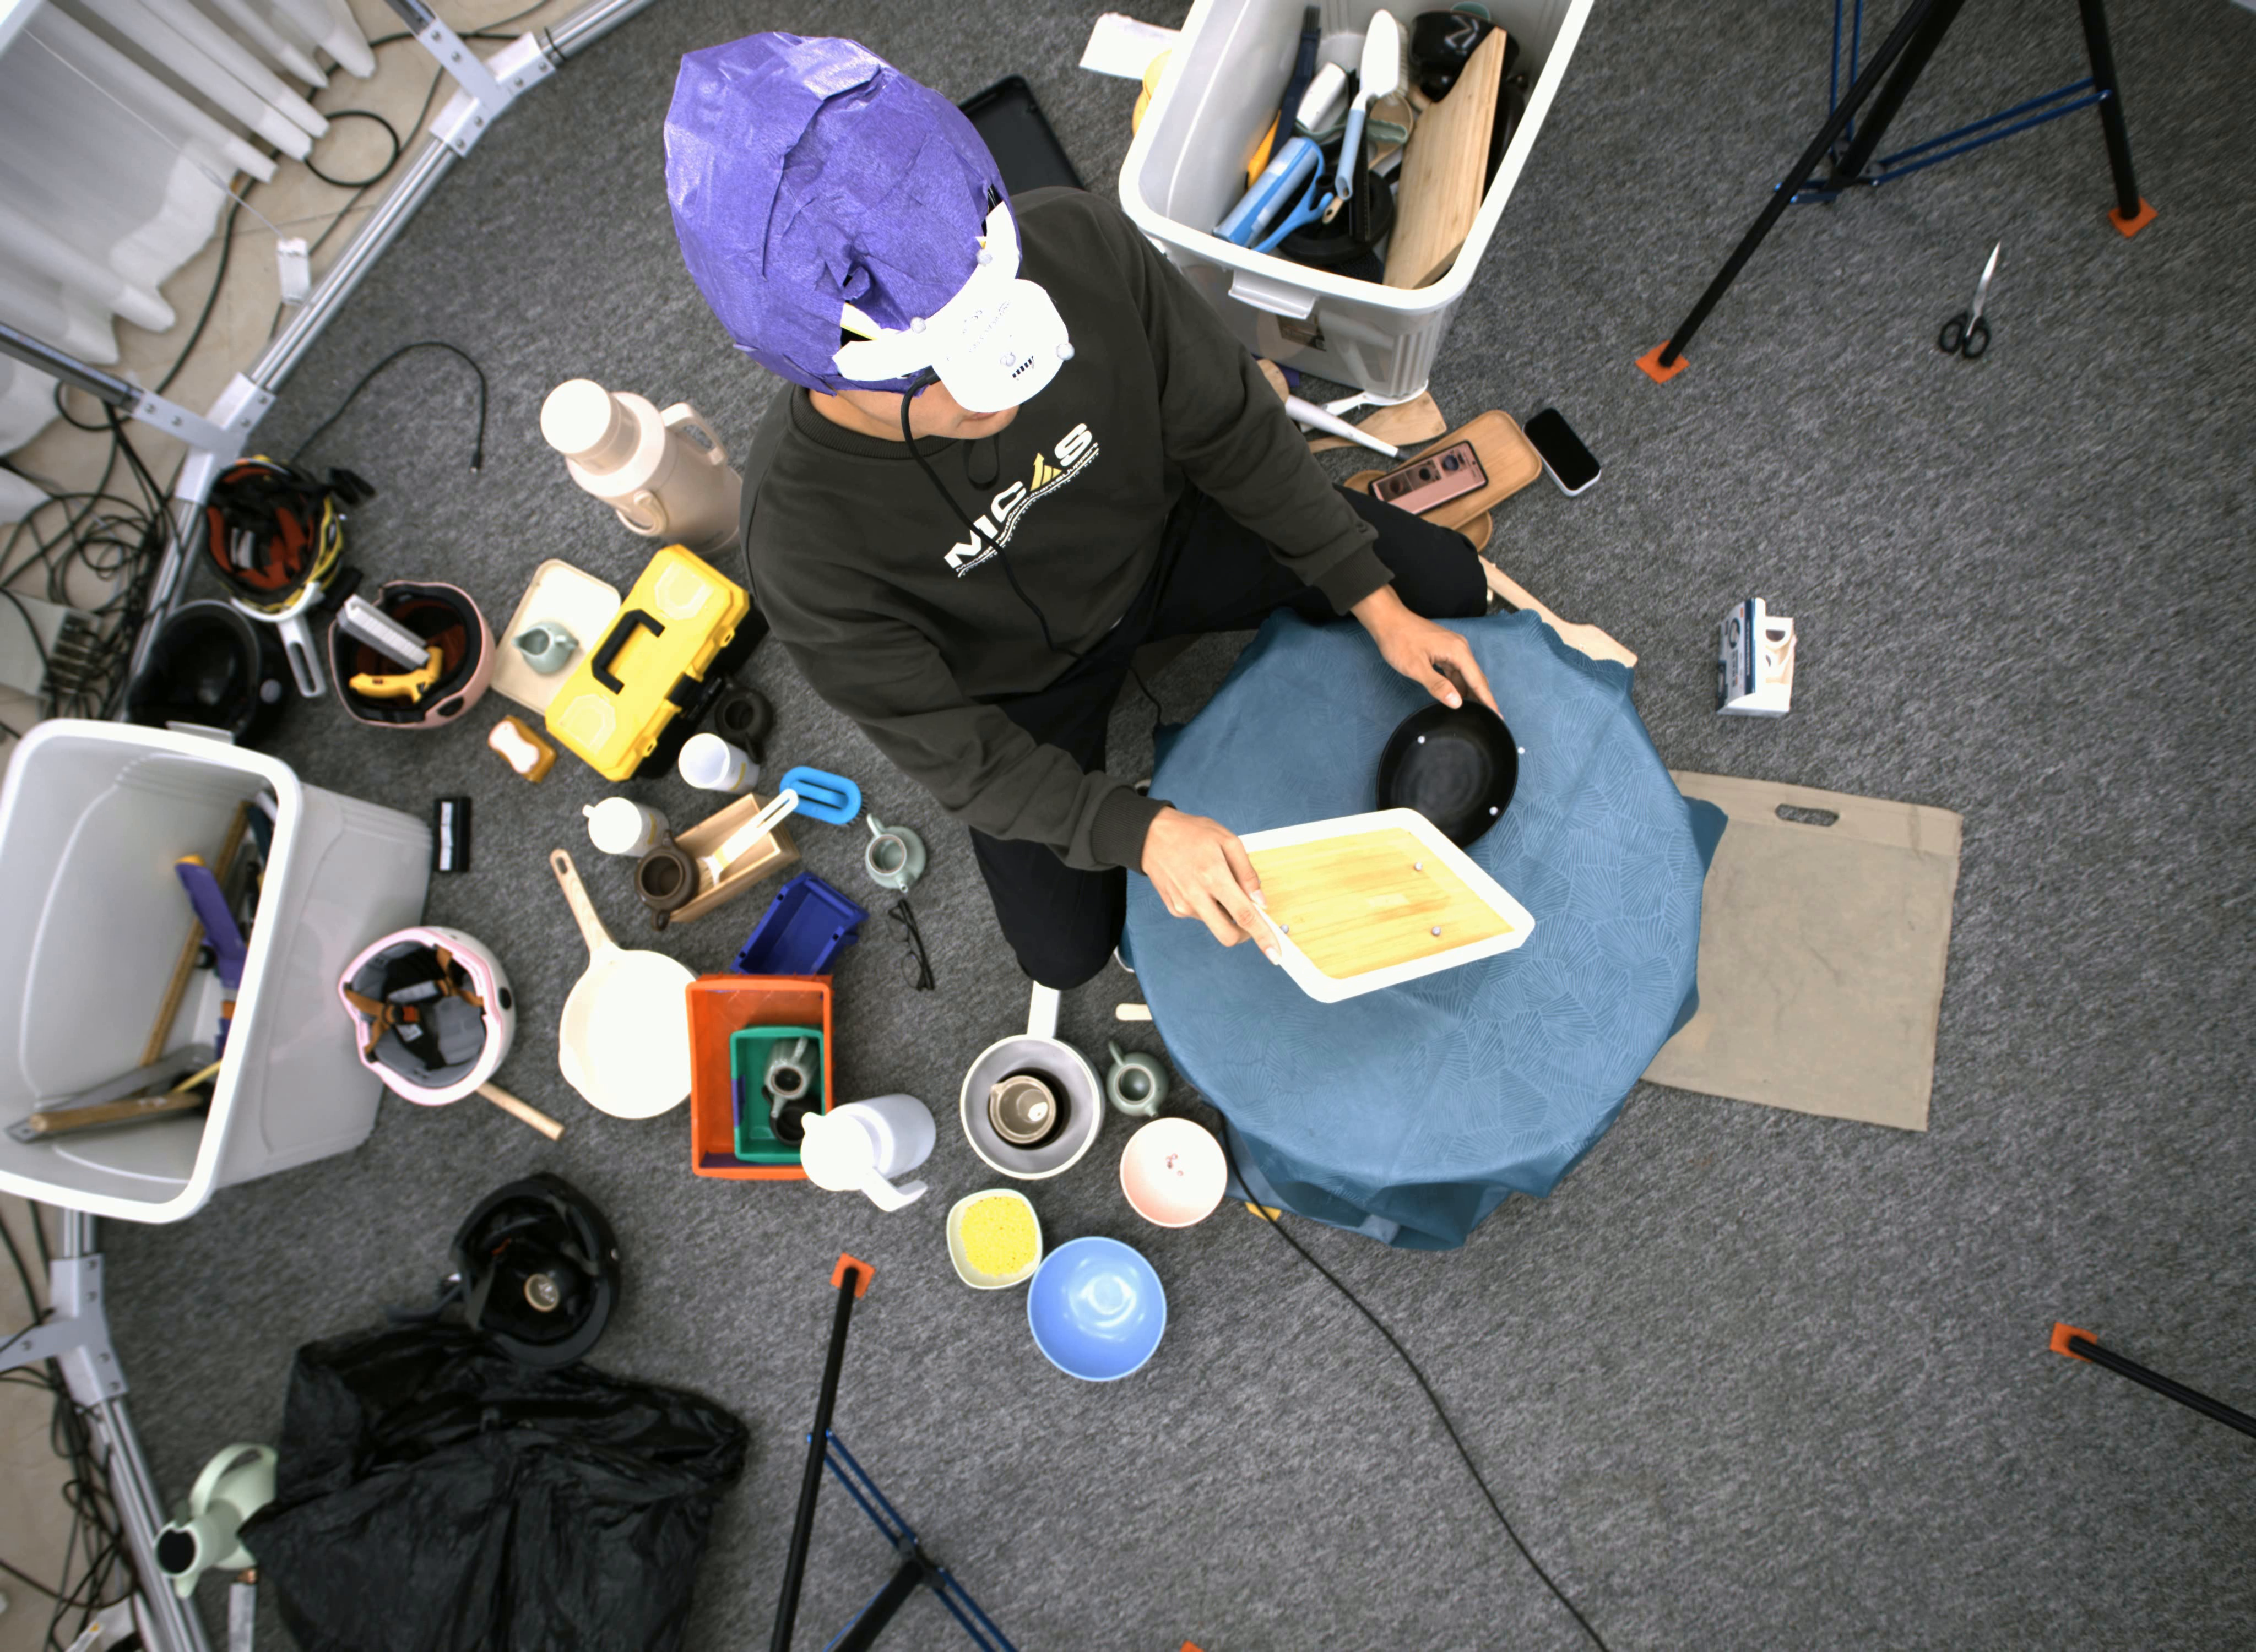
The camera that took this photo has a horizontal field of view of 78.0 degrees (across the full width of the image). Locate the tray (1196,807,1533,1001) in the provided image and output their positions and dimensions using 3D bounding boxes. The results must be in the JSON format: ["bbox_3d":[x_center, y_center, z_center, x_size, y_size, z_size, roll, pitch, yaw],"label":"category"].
[{"bbox_3d":[0.225,0.063,1.287,0.189,0.297,0.028,49,133,34],"label":"tray"}]

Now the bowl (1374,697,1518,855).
[{"bbox_3d":[0.329,-0.050,1.422,0.137,0.066,0.171,27,99,13],"label":"bowl"}]
